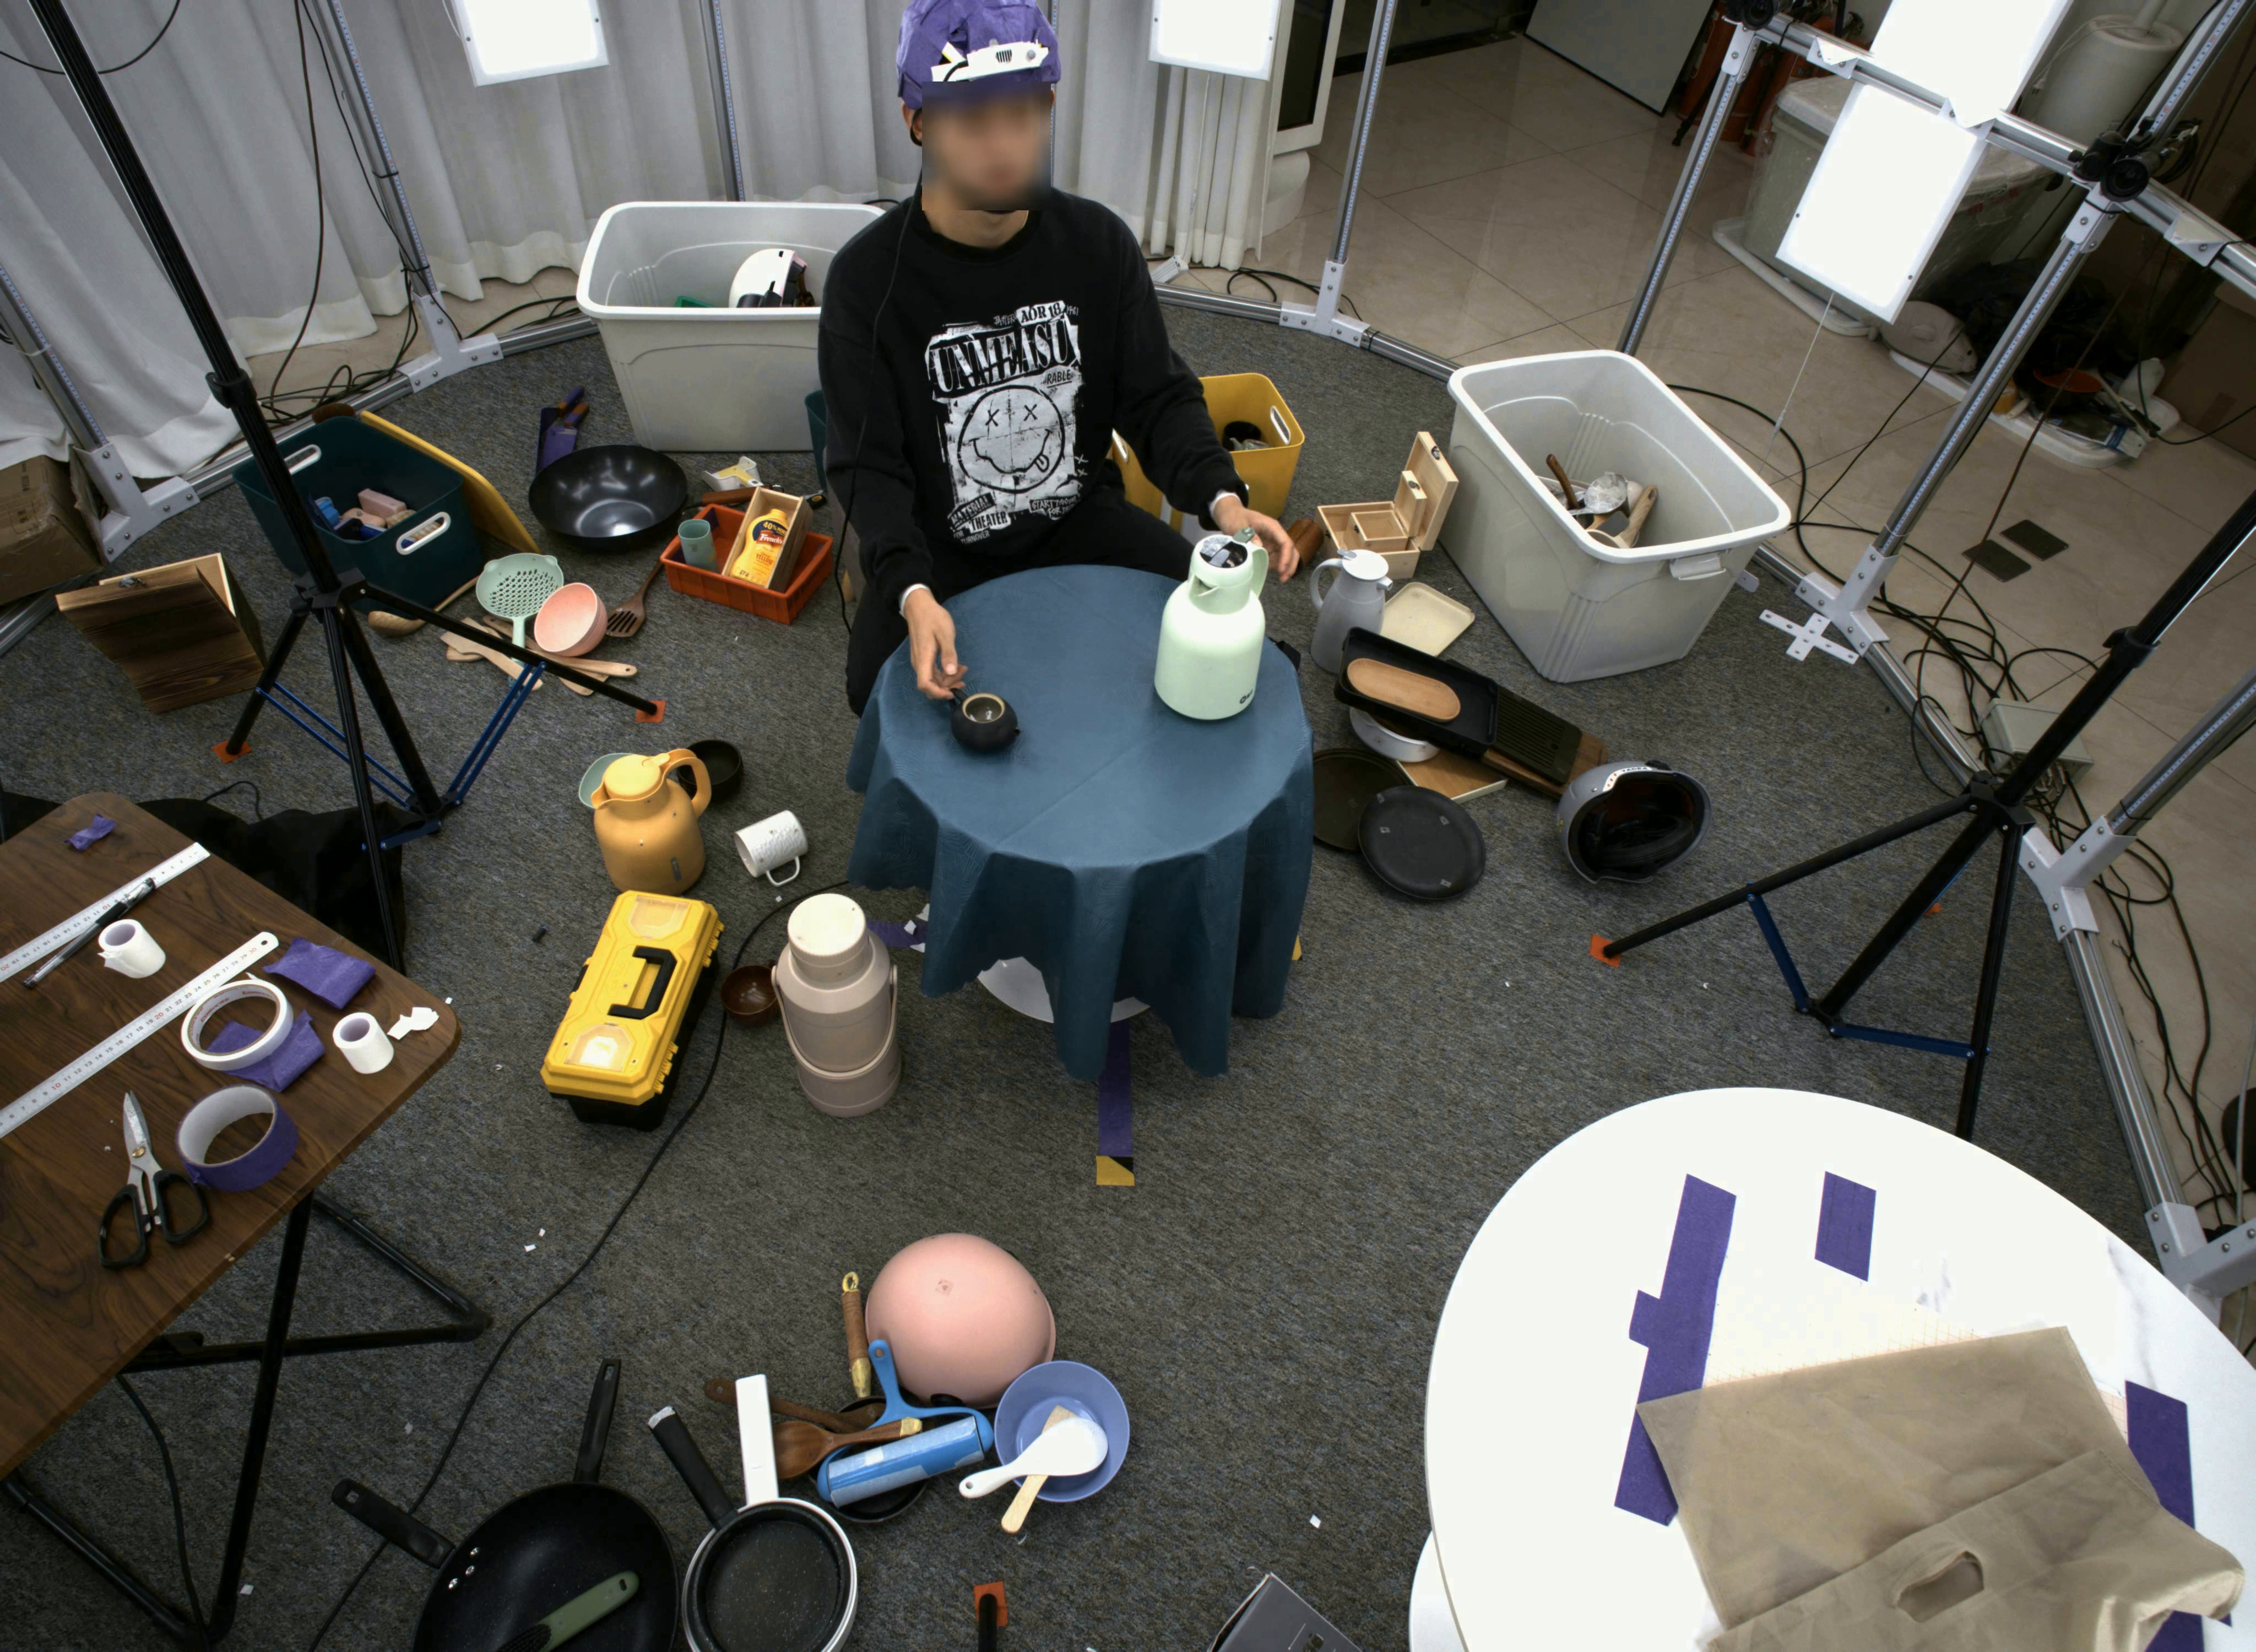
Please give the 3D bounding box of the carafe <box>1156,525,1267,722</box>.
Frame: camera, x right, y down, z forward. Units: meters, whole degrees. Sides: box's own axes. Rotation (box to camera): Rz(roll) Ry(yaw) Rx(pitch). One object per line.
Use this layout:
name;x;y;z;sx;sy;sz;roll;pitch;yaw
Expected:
carafe;0.125;-0.283;1.761;0.146;0.250;0.189;29;50;21

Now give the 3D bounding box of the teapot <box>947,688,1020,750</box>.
teapot;-0.197;-0.143;1.747;0.135;0.052;0.092;35;54;23
